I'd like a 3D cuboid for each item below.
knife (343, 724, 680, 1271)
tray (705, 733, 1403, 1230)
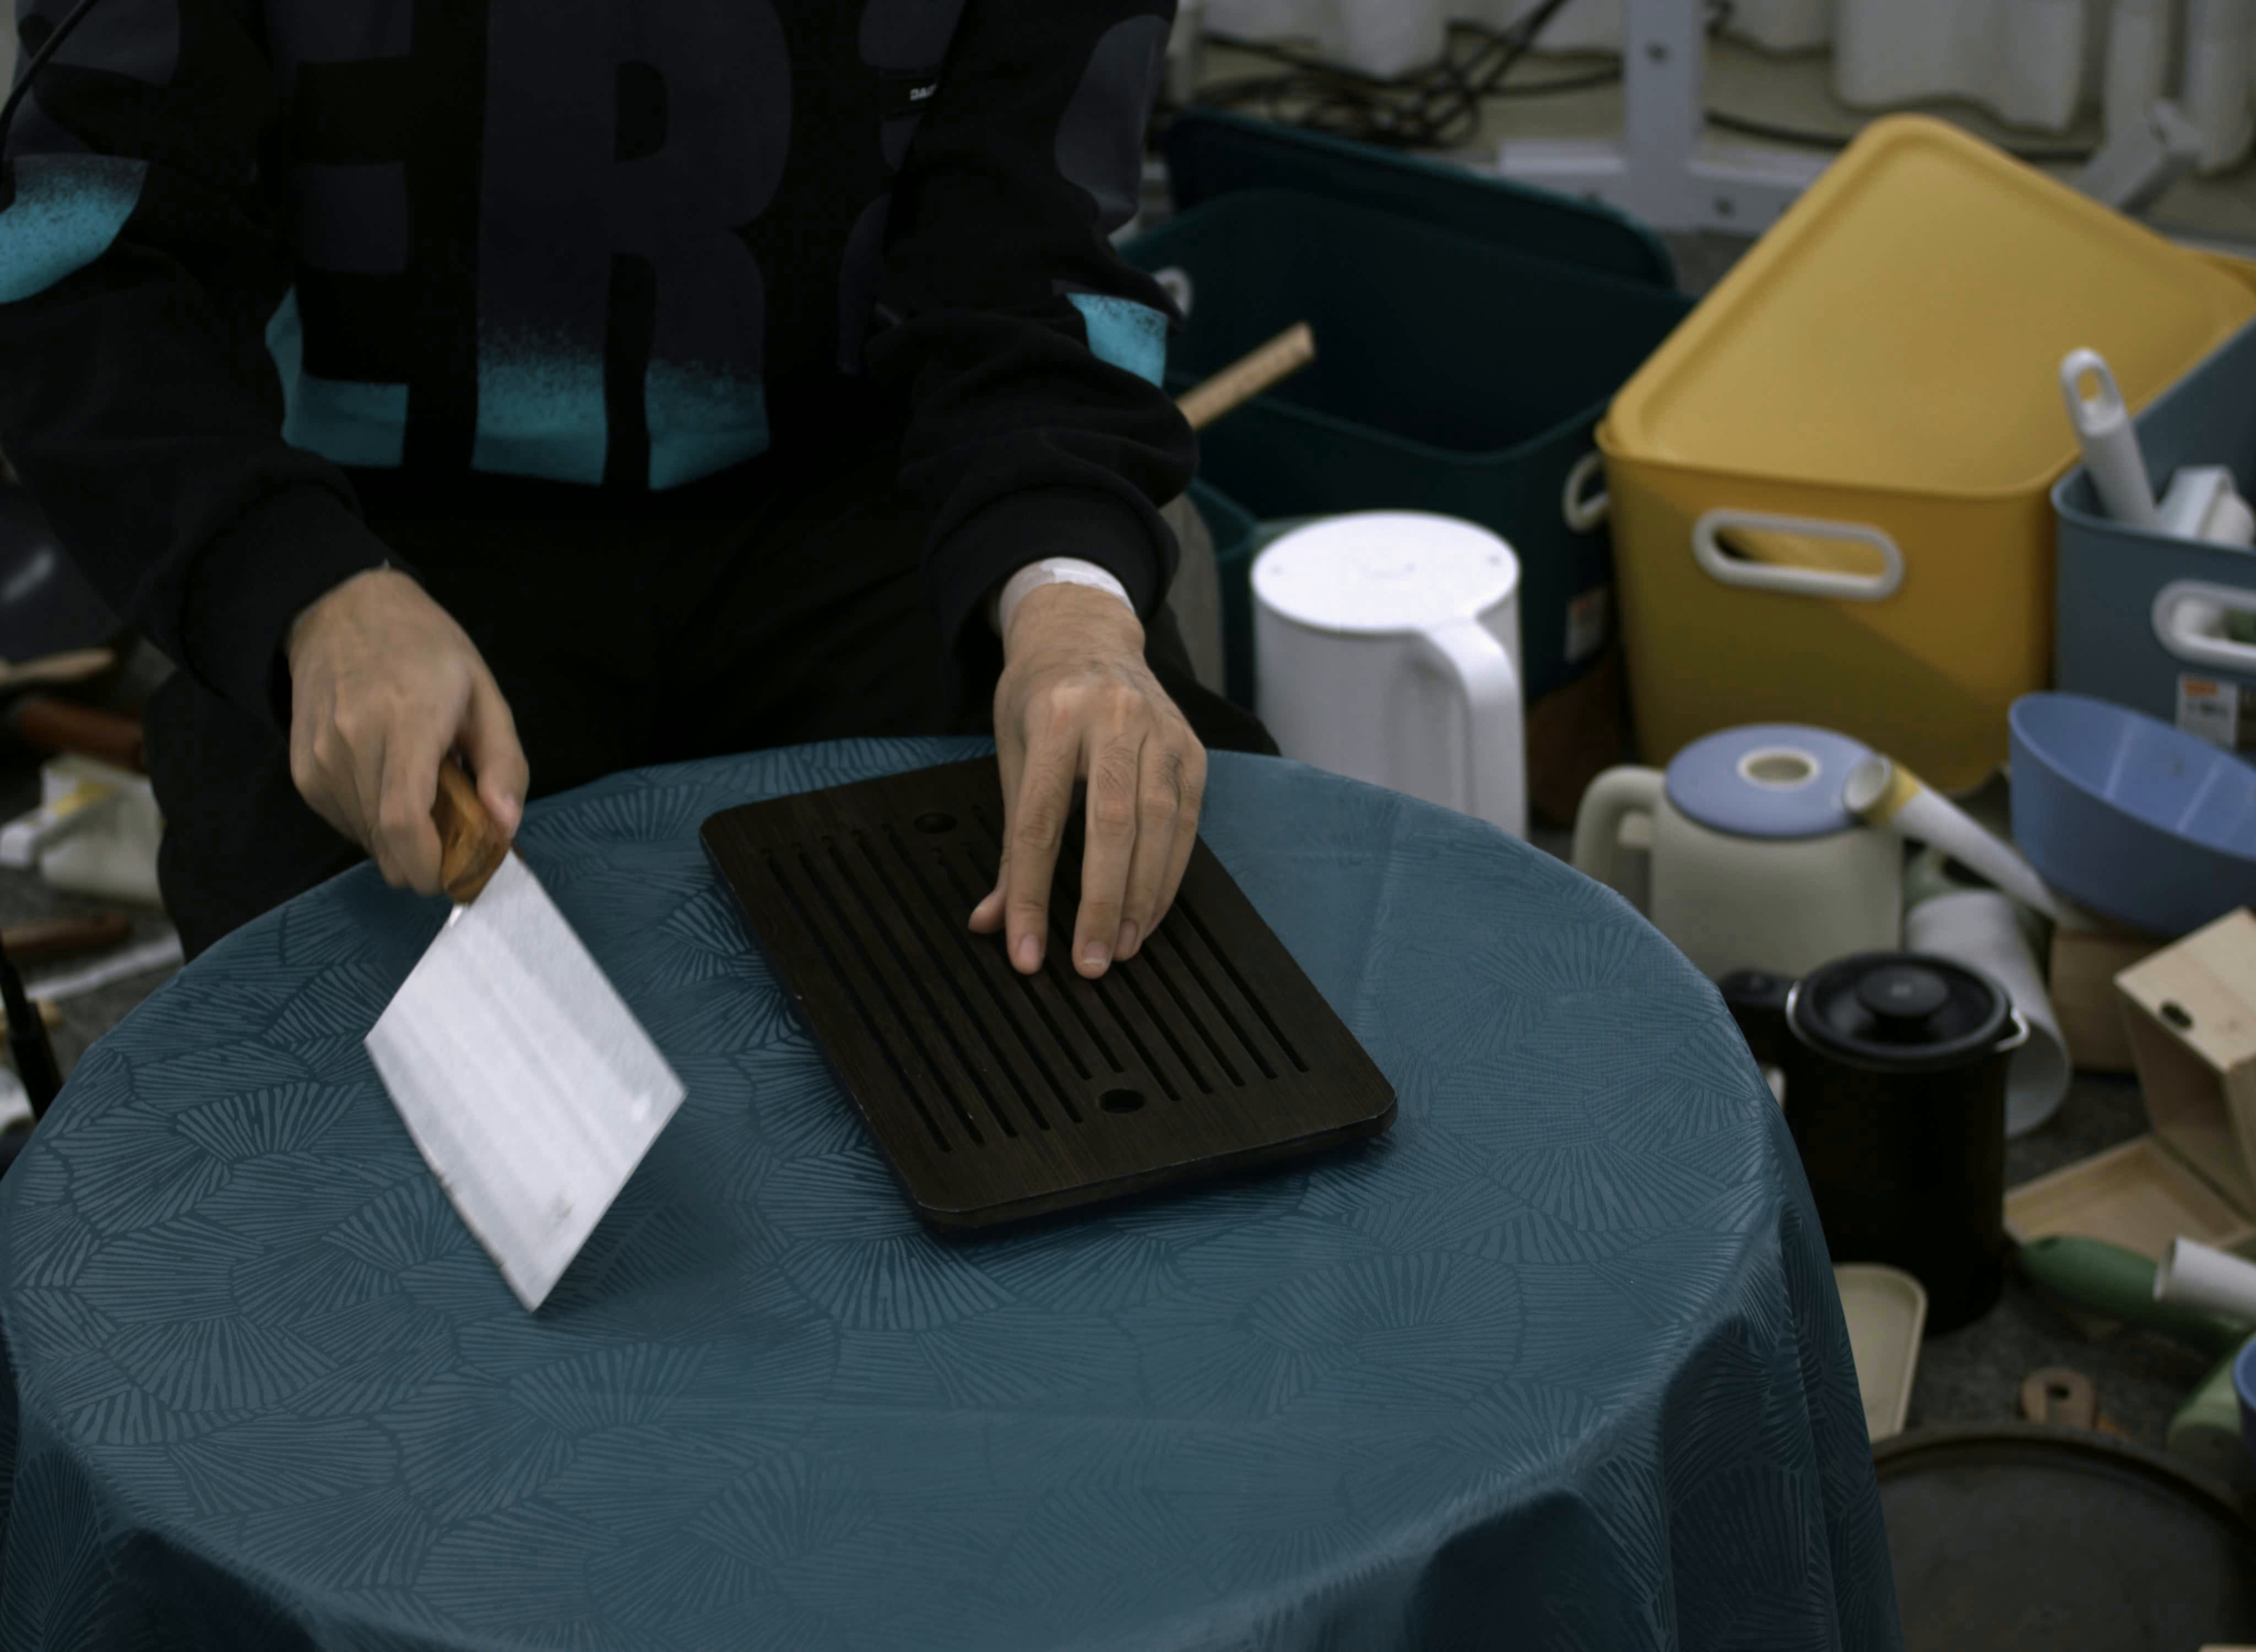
[{"bbox_3d":[-0.227,0.059,1.921,0.021,0.092,0.308,33,8,-34],"label":"knife"},{"bbox_3d":[-0.032,0.051,1.980,0.170,0.018,0.309,-11,29,-15],"label":"tray"}]
